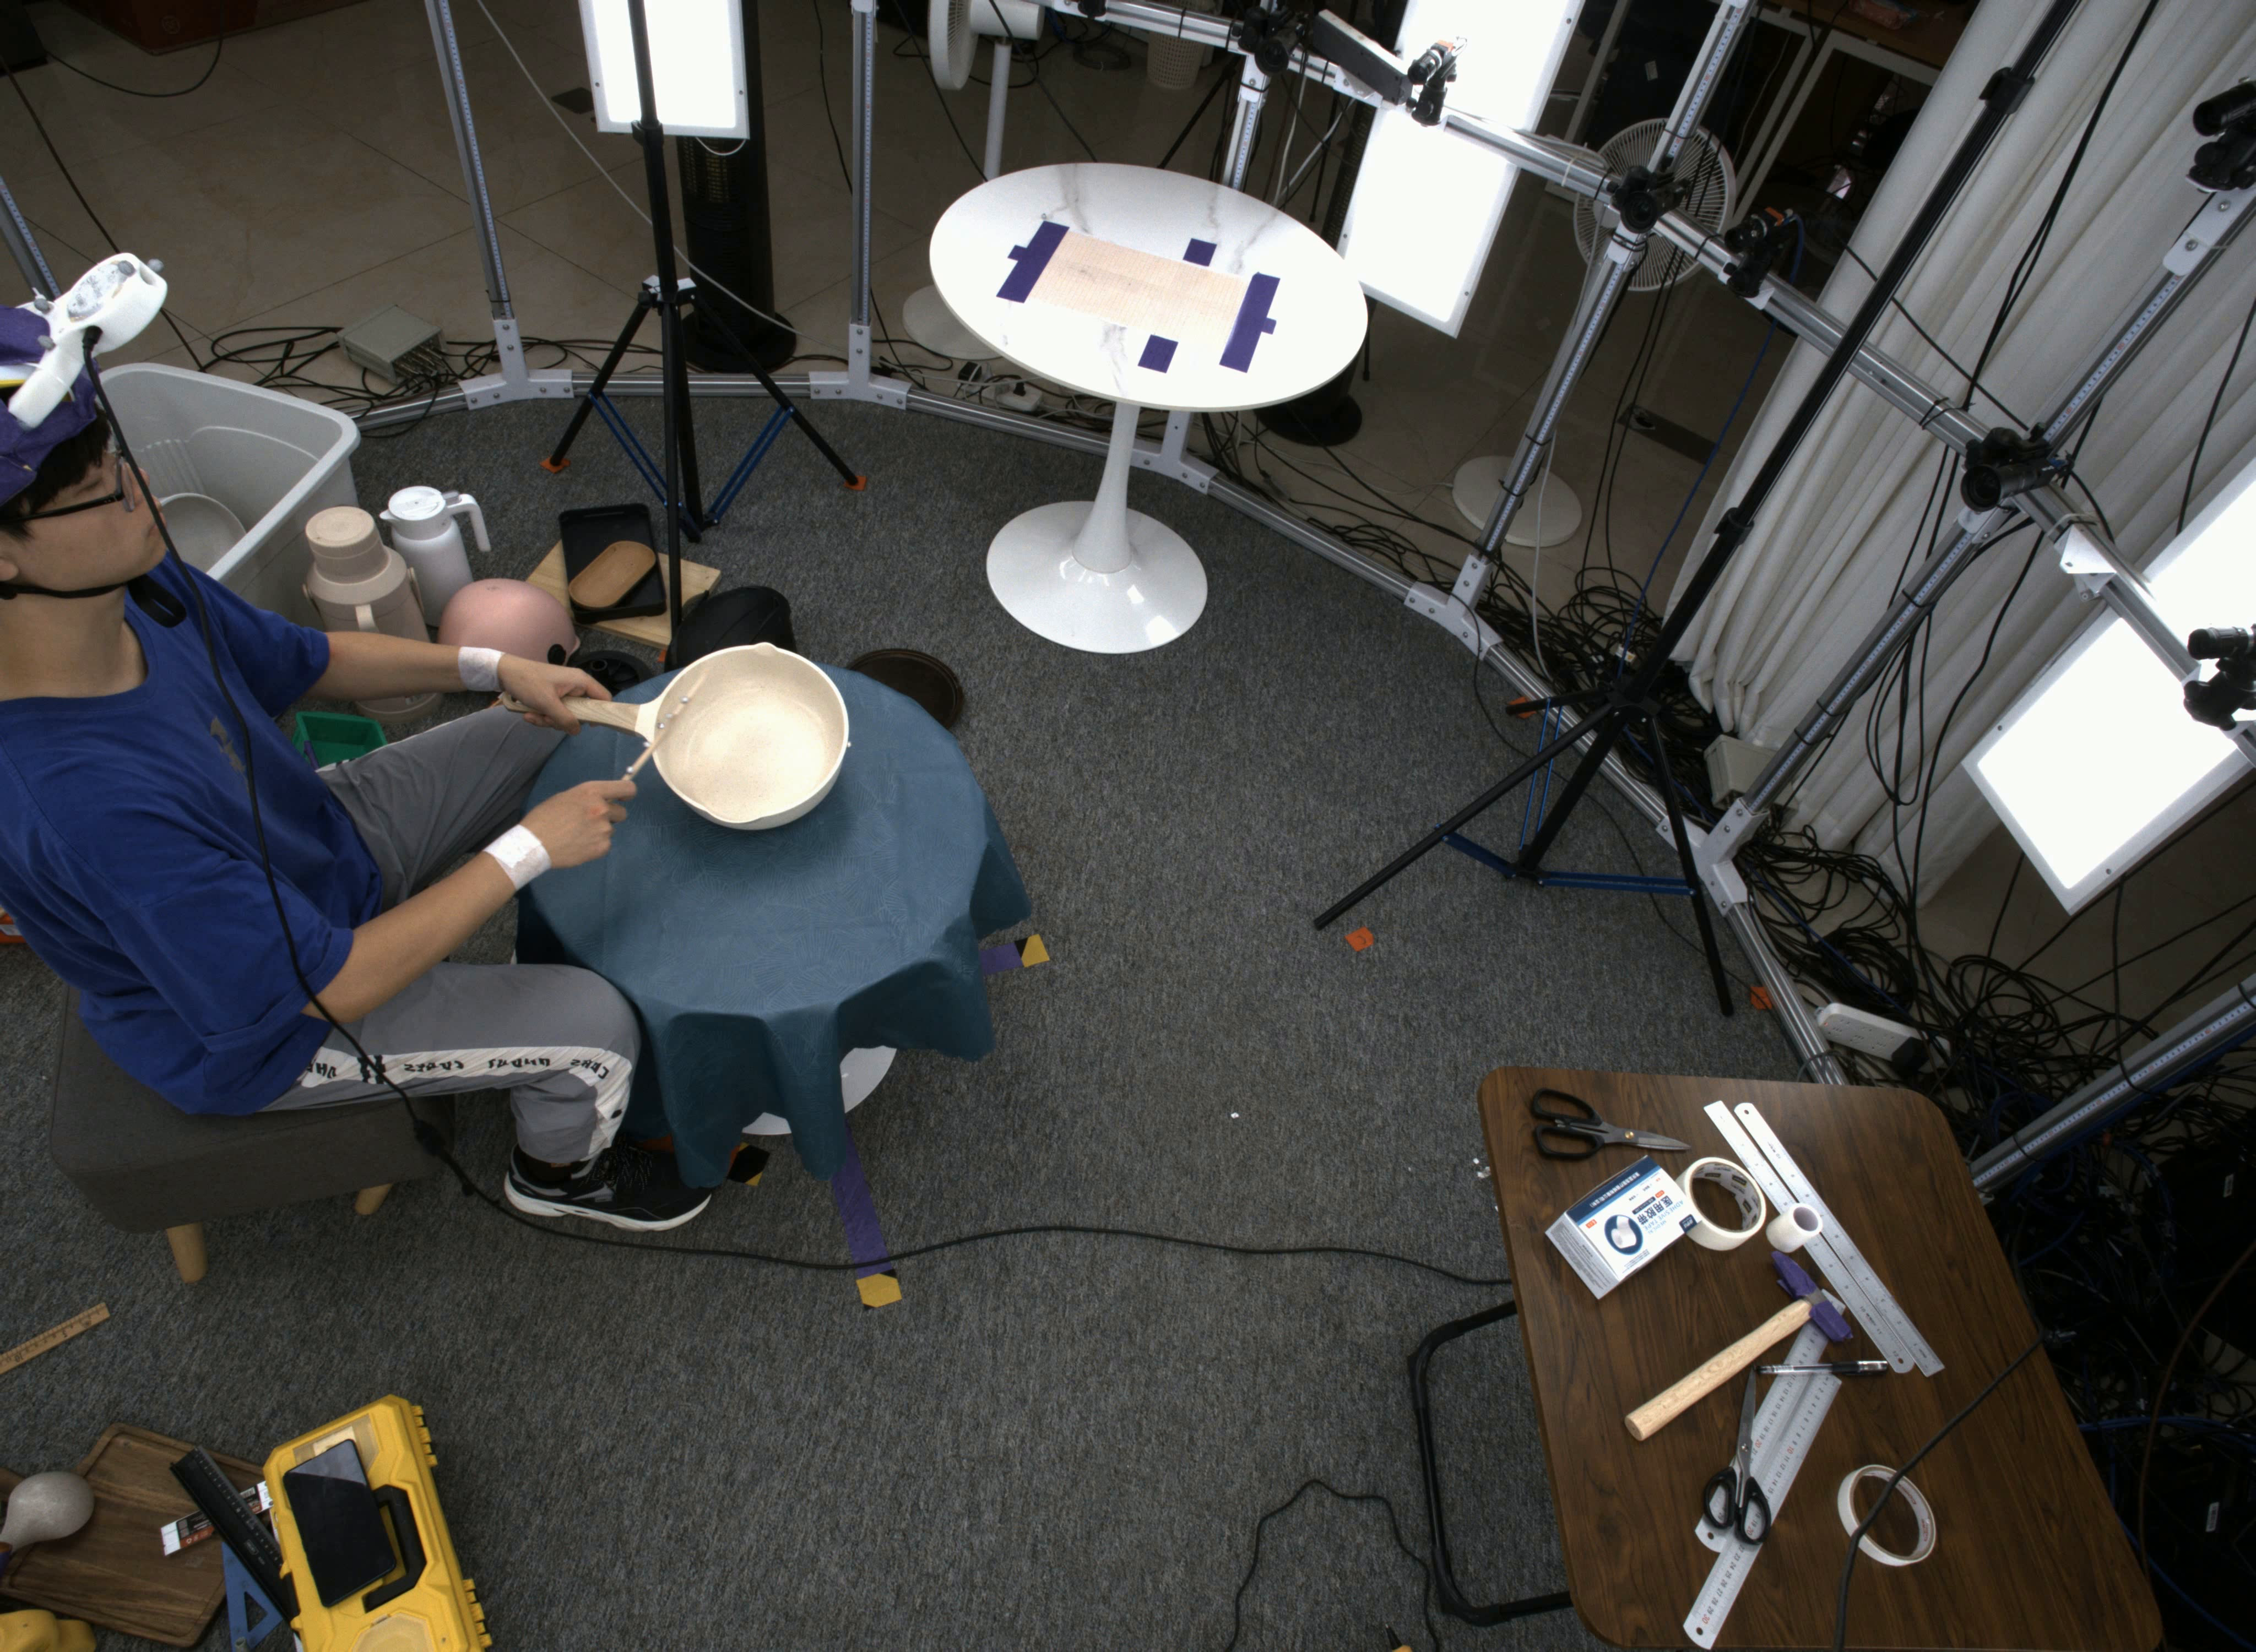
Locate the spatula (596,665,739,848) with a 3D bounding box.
[{"bbox_3d":[-0.565,-0.086,1.577,0.011,0.071,0.291,37,57,-11],"label":"spatula"}]

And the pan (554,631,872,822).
[{"bbox_3d":[-0.552,-0.133,1.695,0.433,0.103,0.261,5,69,-8],"label":"pan"}]
